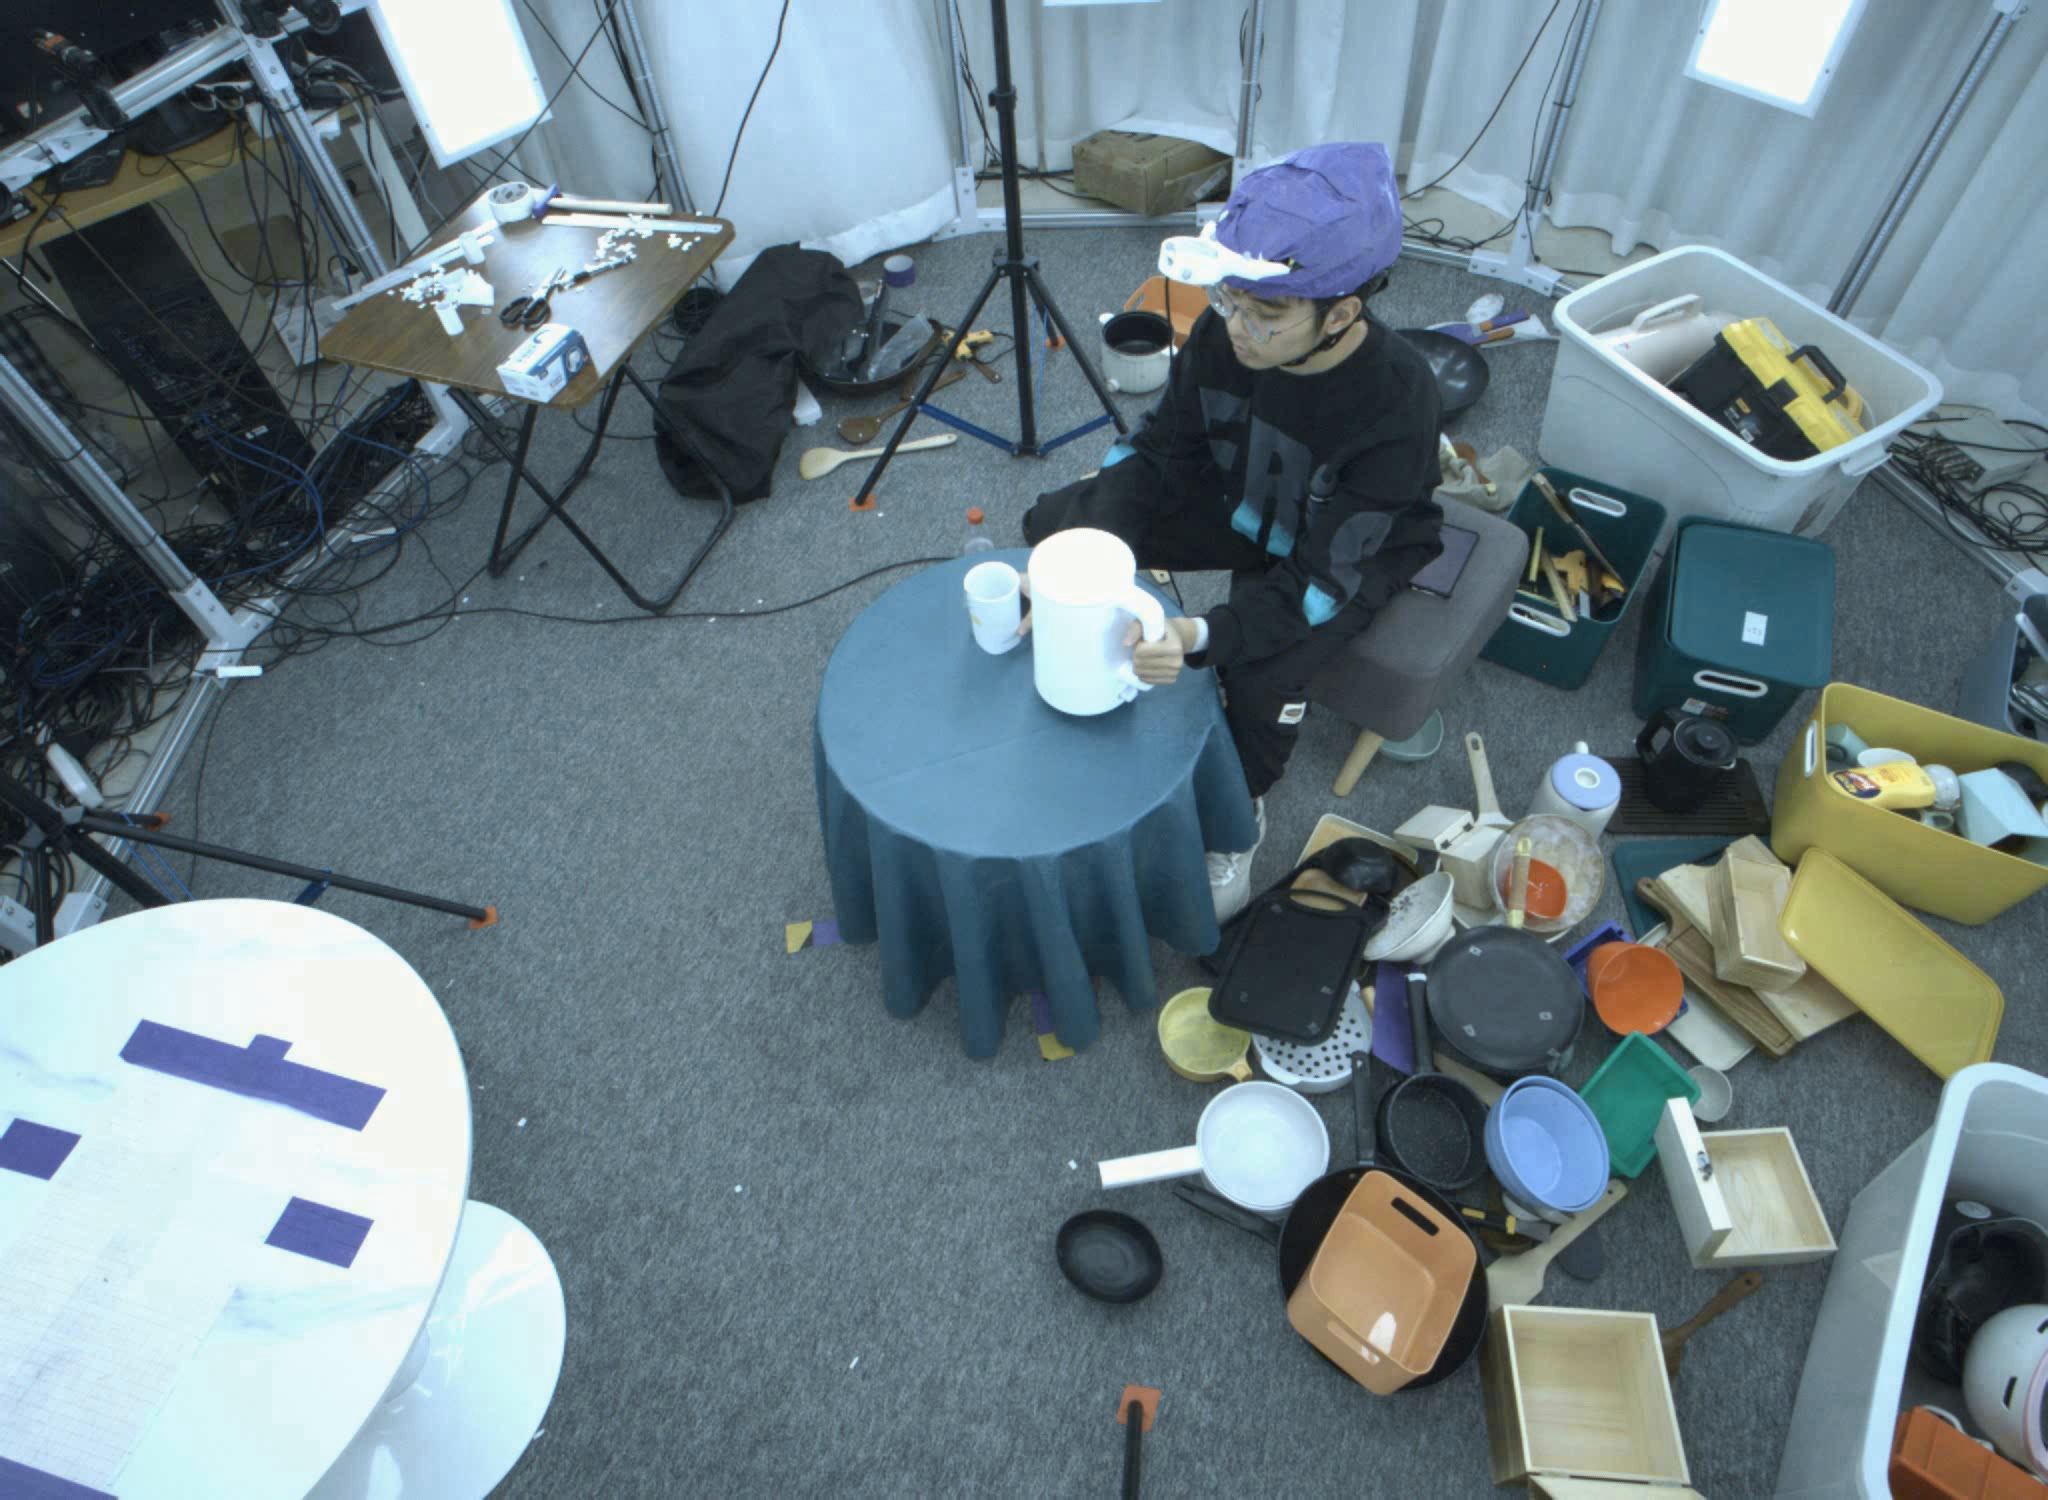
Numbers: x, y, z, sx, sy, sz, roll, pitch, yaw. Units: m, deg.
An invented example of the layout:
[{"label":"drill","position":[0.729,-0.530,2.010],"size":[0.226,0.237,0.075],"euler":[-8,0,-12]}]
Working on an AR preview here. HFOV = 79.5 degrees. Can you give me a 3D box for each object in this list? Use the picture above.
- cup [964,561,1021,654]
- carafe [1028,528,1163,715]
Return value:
[{"label":"cup","position":[-0.045,-0.213,1.859],"size":[0.081,0.127,0.081],"euler":[-1,54,2]},{"label":"carafe","position":[0.101,-0.164,1.718],"size":[0.209,0.243,0.153],"euler":[34,64,25]}]
